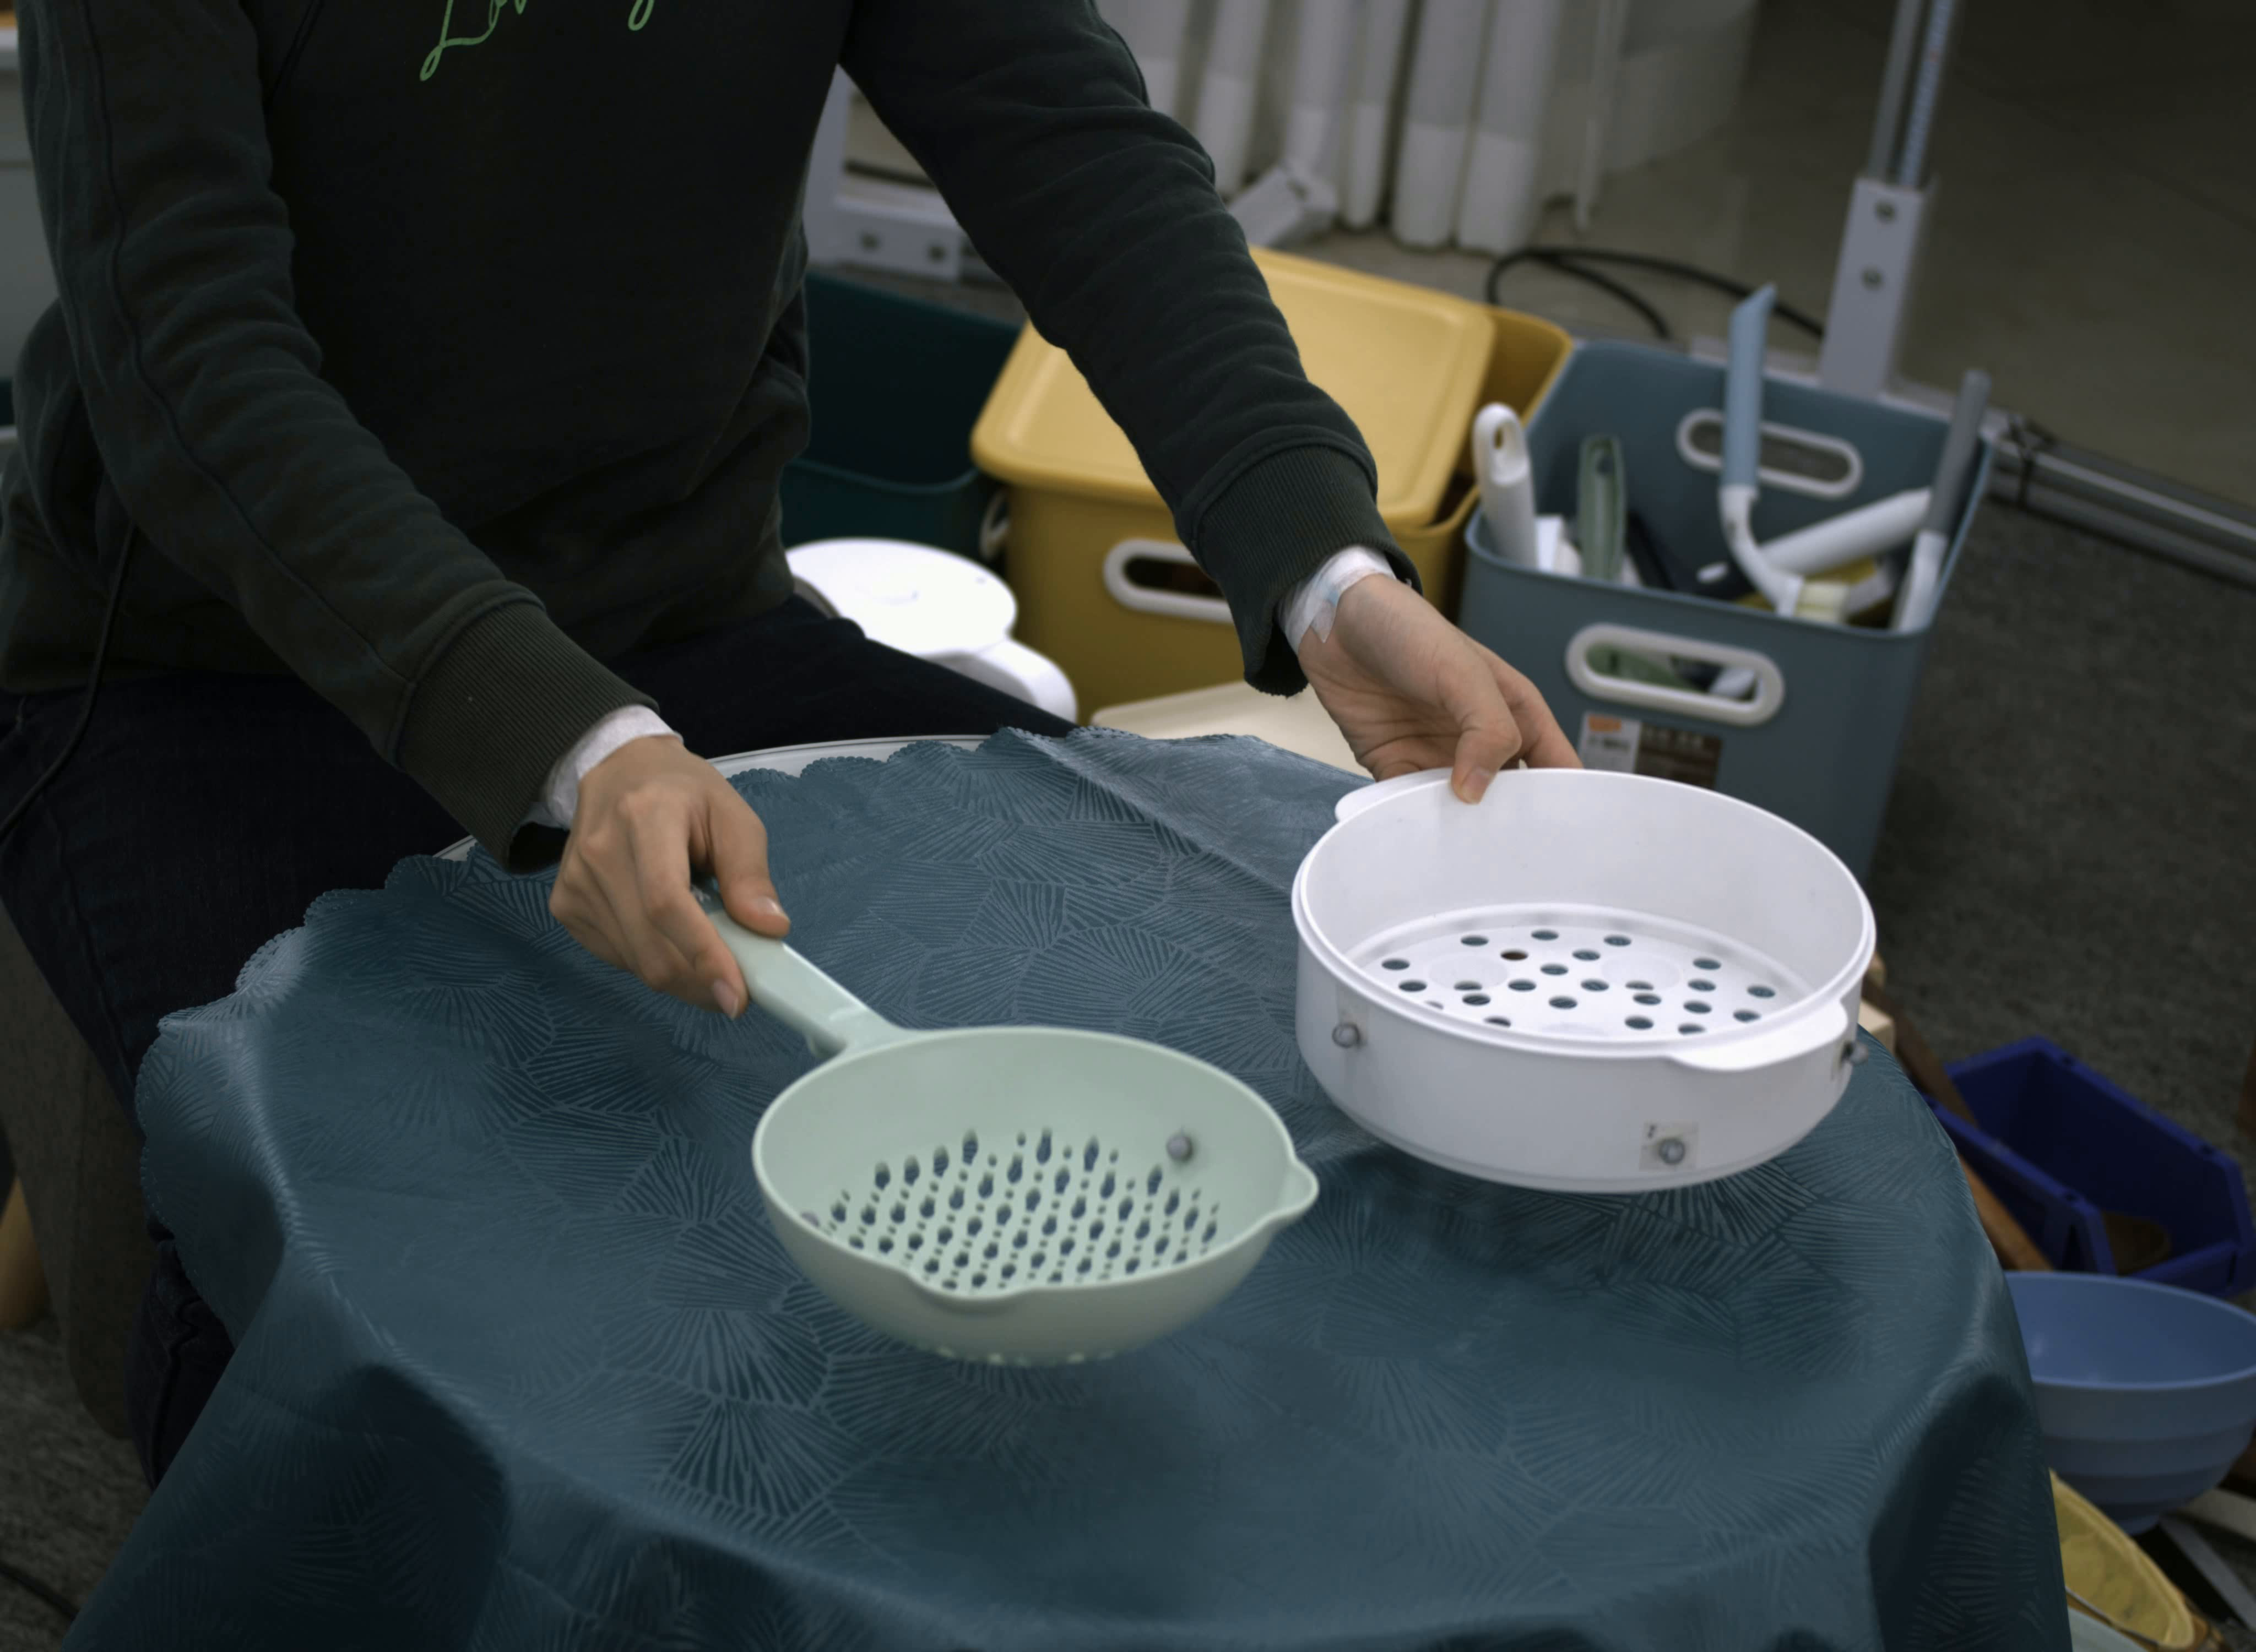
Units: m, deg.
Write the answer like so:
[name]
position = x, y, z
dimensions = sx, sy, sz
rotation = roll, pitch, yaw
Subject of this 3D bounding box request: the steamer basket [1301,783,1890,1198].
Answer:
[steamer basket]
position = 0.158, 0.057, 1.830
dimensions = 0.201, 0.069, 0.232
rotation = -15, 30, -30

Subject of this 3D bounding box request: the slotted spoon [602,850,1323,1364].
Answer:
[slotted spoon]
position = -0.084, 0.074, 1.726
dimensions = 0.168, 0.075, 0.362
rotation = -13, 36, -30
